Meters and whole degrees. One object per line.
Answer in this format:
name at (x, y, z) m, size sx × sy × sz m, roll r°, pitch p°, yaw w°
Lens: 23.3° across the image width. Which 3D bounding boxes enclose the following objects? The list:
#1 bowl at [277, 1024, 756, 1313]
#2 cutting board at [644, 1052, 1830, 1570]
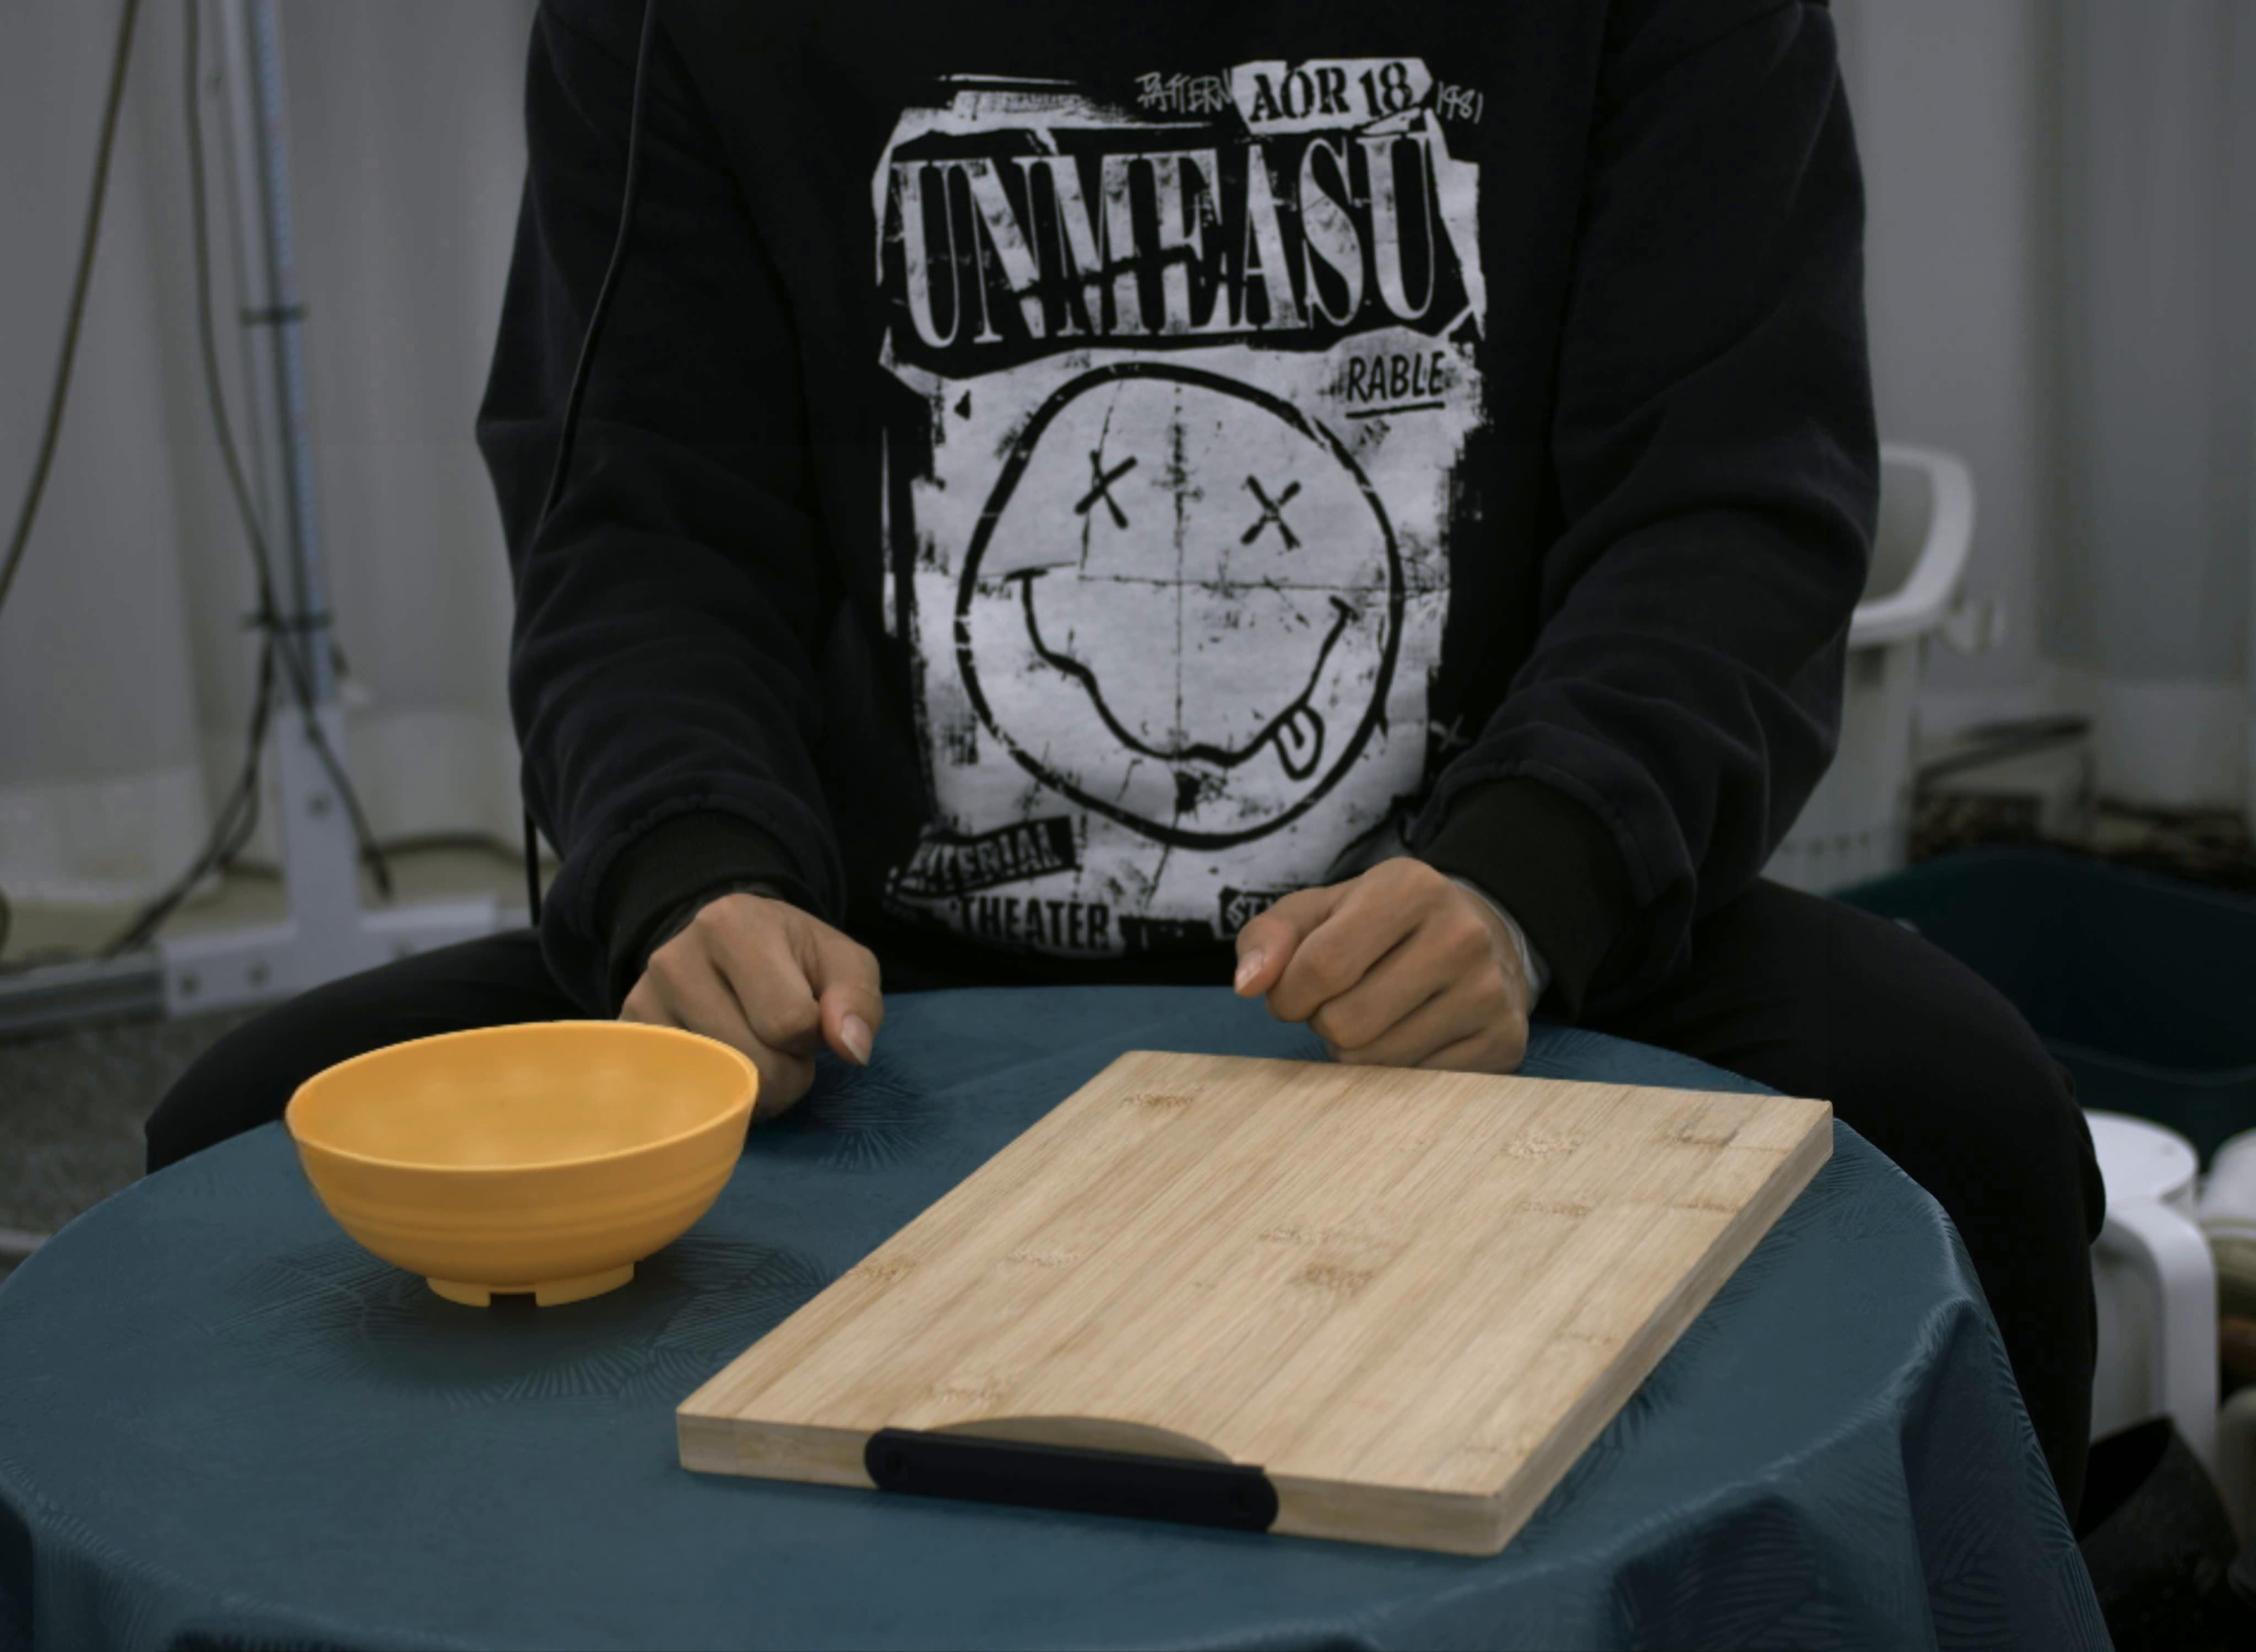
bowl at (-0.185, 0.109, 1.662) m, size 0.145 × 0.060 × 0.146 m, roll 0°, pitch 14°, yaw 0°
cutting board at (0.045, 0.134, 1.602) m, size 0.251 × 0.023 × 0.349 m, roll 3°, pitch 16°, yaw 21°
